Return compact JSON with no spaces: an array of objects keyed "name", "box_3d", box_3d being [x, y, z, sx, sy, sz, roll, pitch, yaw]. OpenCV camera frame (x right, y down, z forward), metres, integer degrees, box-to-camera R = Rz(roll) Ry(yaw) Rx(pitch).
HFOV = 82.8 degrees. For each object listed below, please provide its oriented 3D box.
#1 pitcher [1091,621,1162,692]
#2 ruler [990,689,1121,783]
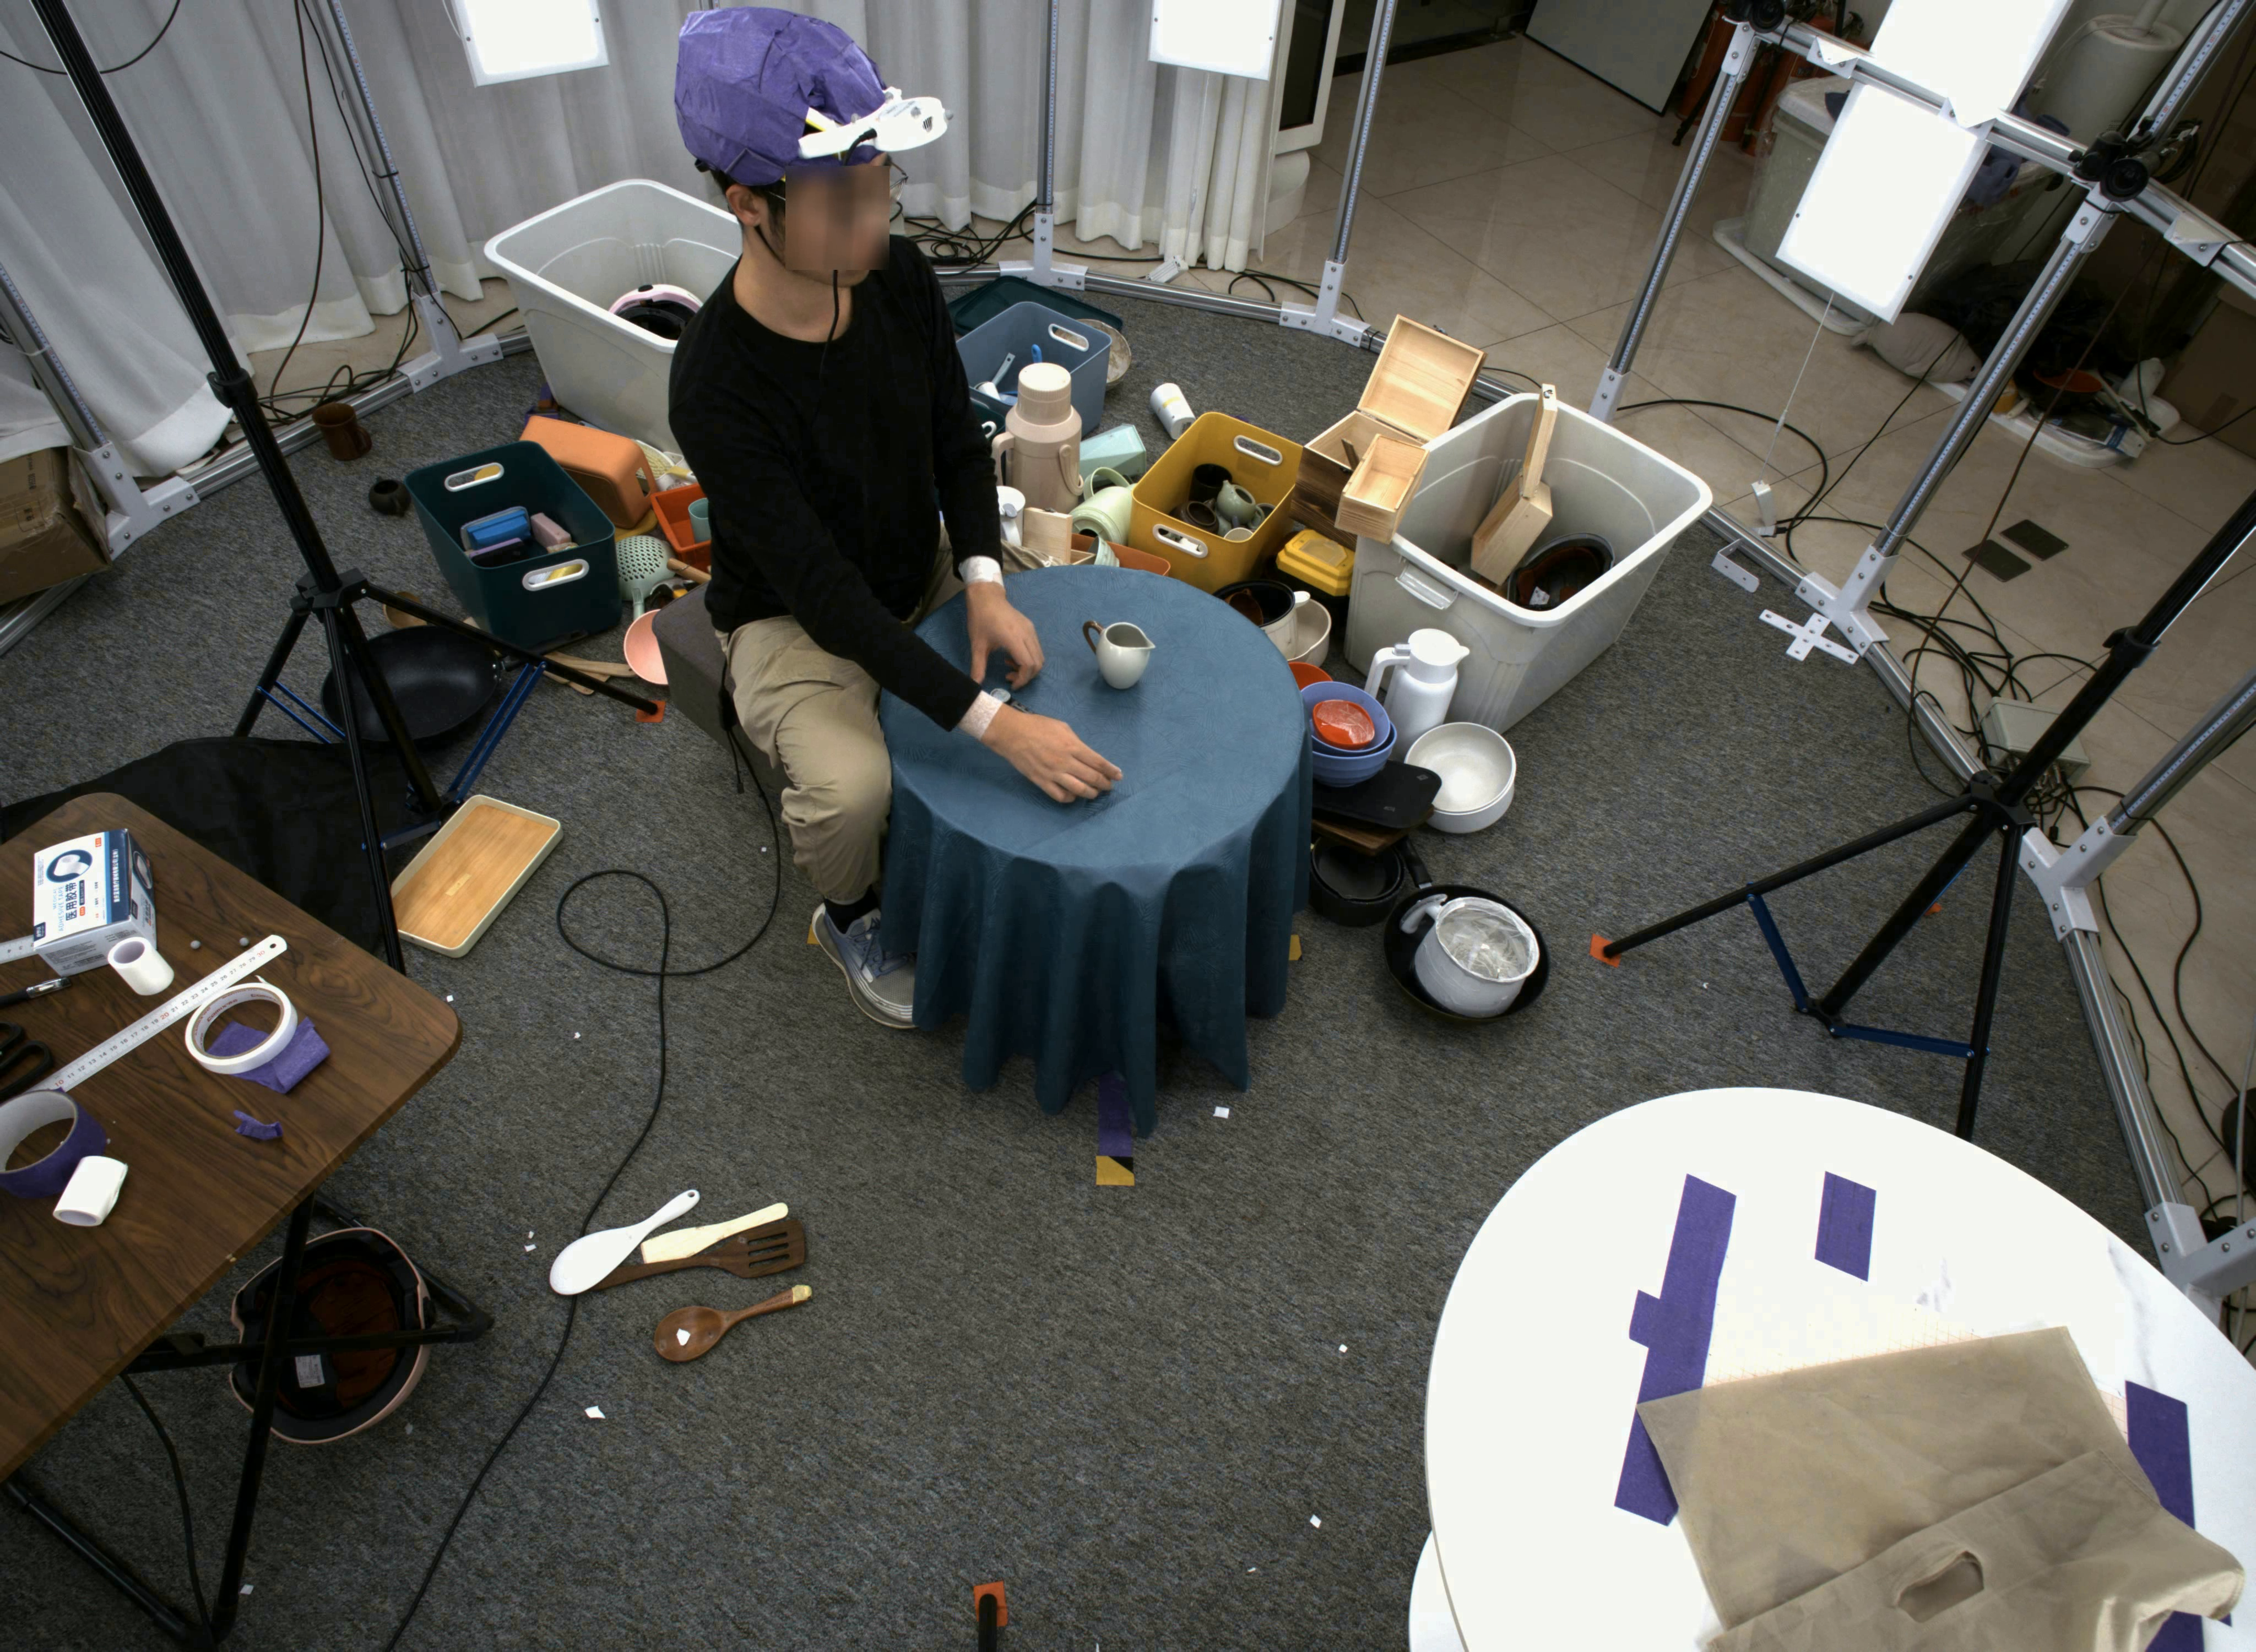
[{"name":"pitcher","box_3d":[-0.006,-0.241,1.823,0.120,0.086,0.077,33,51,20]},{"name":"ruler","box_3d":[-0.105,-0.127,1.758,0.221,0.023,0.039,32,61,24]}]
